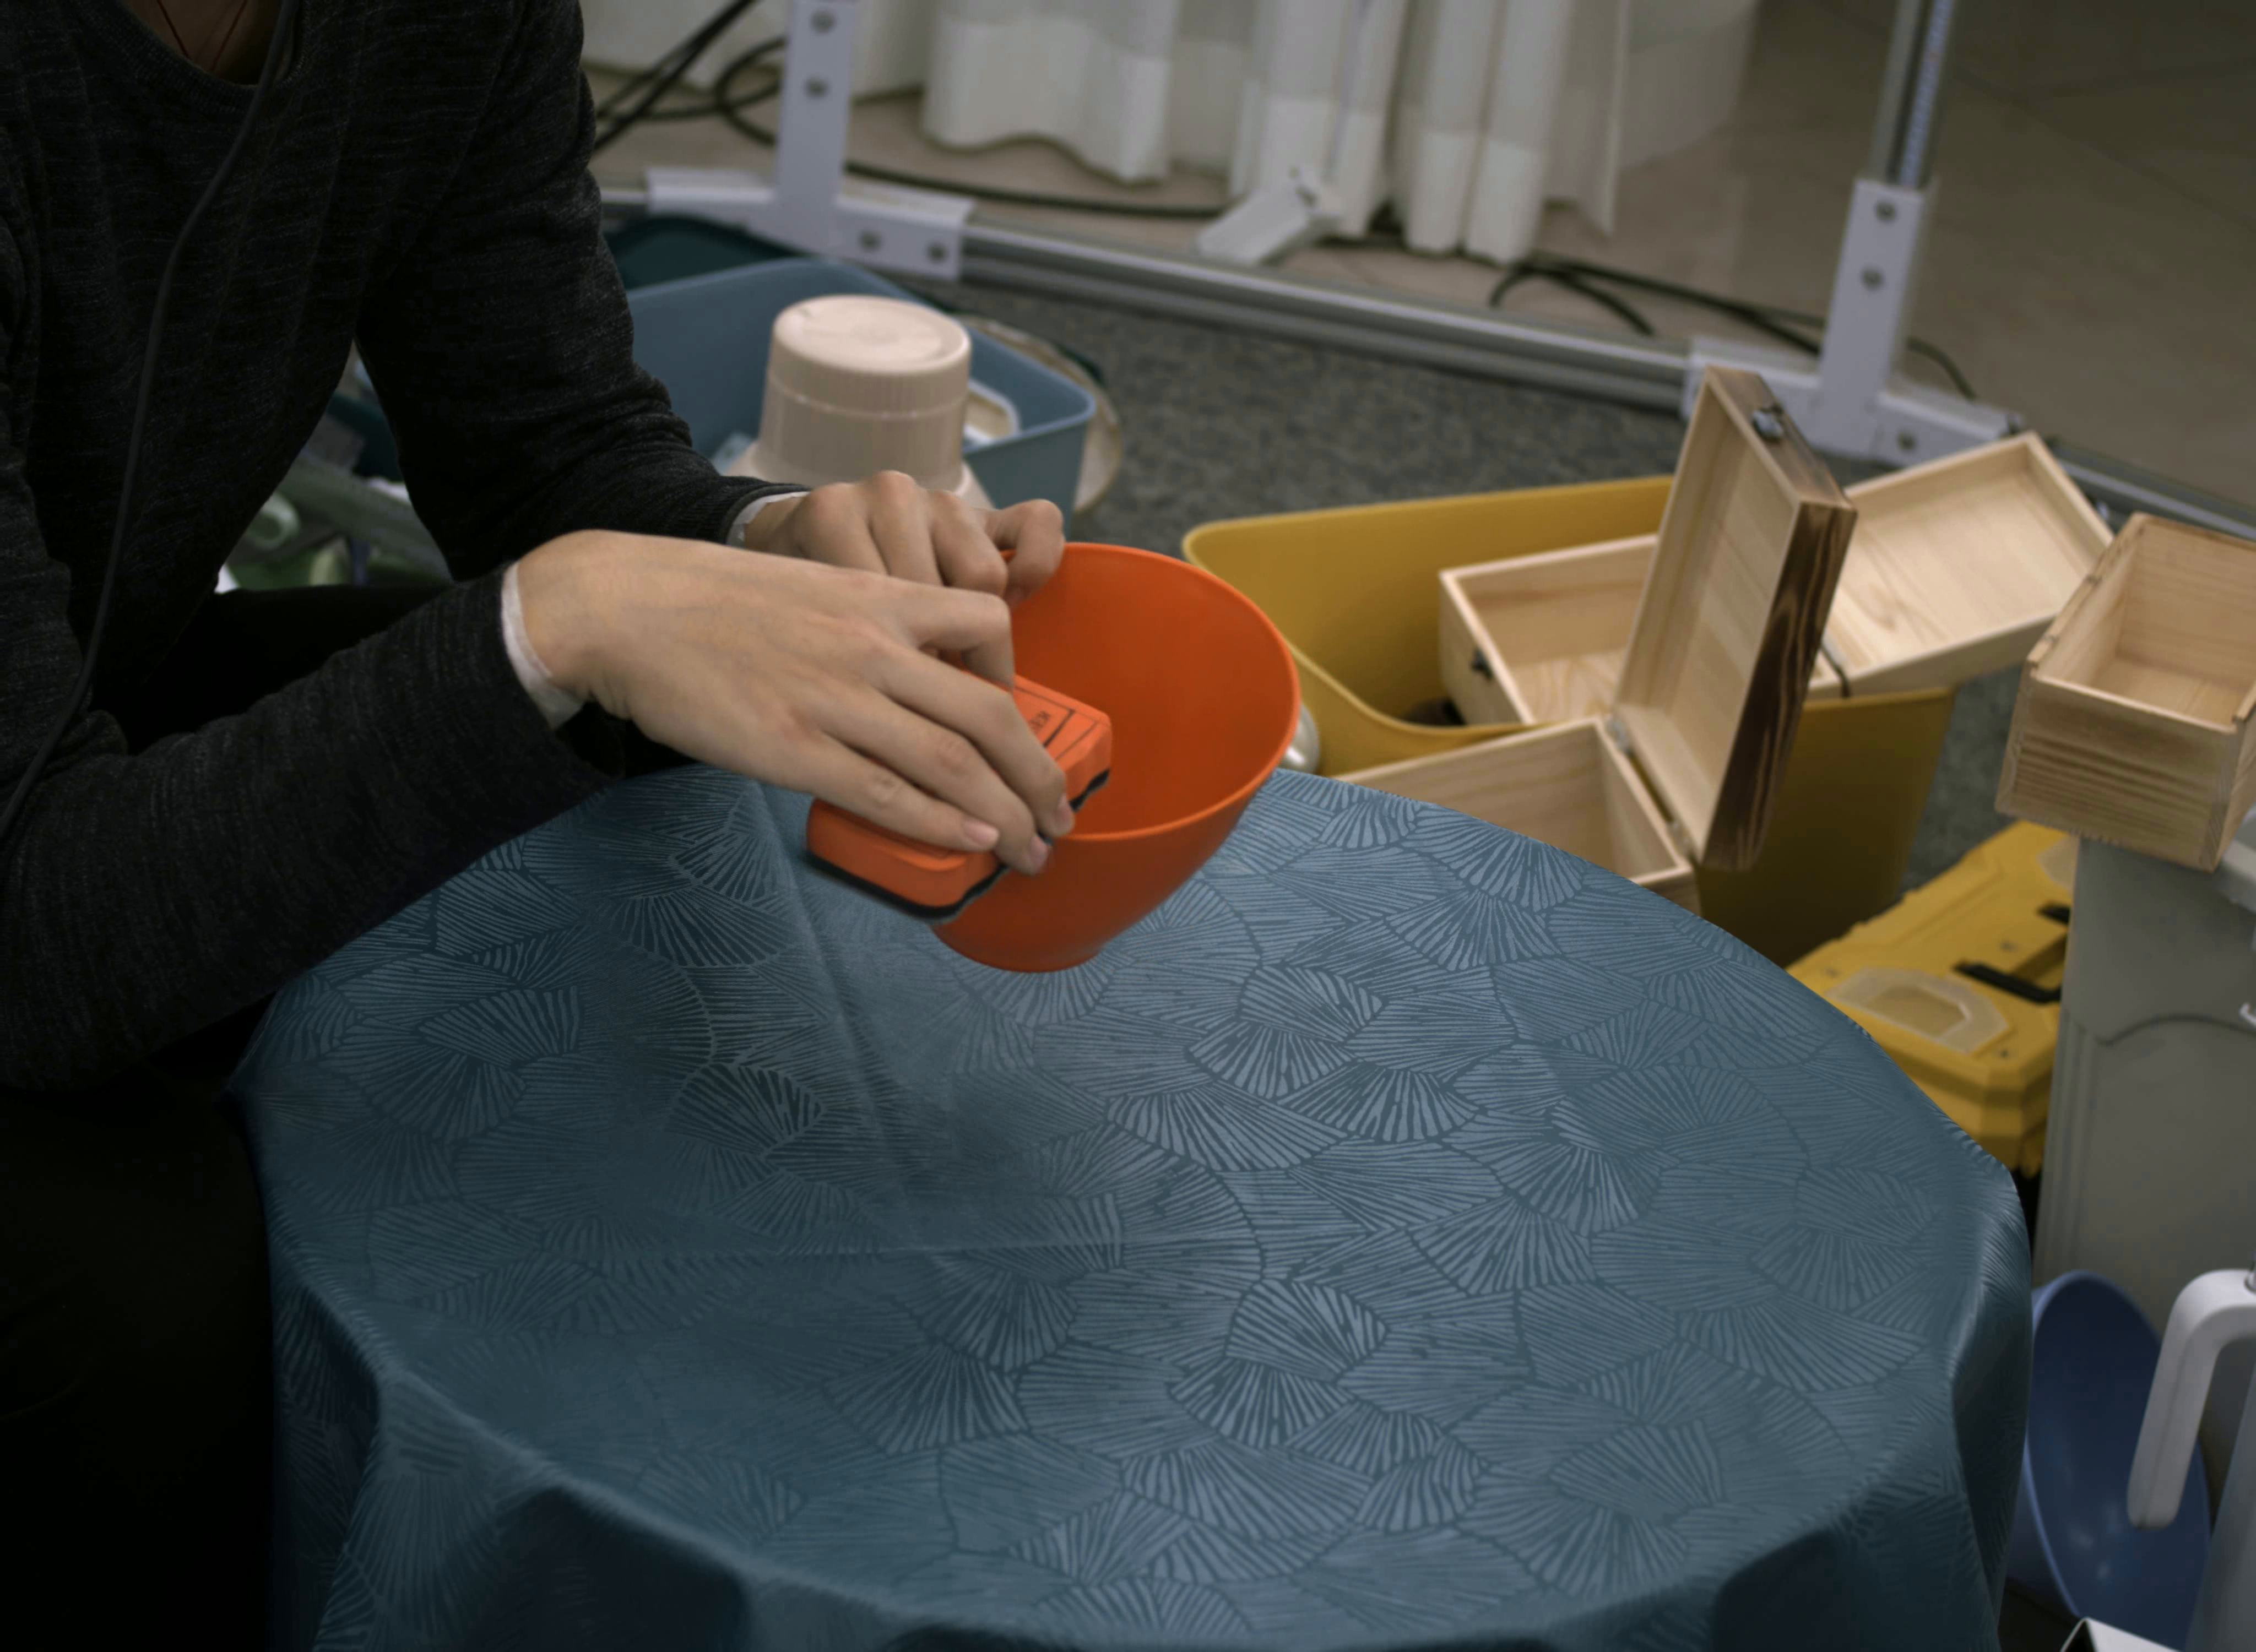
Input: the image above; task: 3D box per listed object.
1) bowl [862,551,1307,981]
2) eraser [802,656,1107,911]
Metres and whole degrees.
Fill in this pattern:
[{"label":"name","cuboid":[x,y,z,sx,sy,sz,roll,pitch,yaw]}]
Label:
[{"label":"bowl","cuboid":[-0.021,-0.012,1.794,0.147,0.104,0.149,7,35,-6]},{"label":"eraser","cuboid":[-0.055,-0.015,1.713,0.059,0.023,0.108,24,39,21]}]
